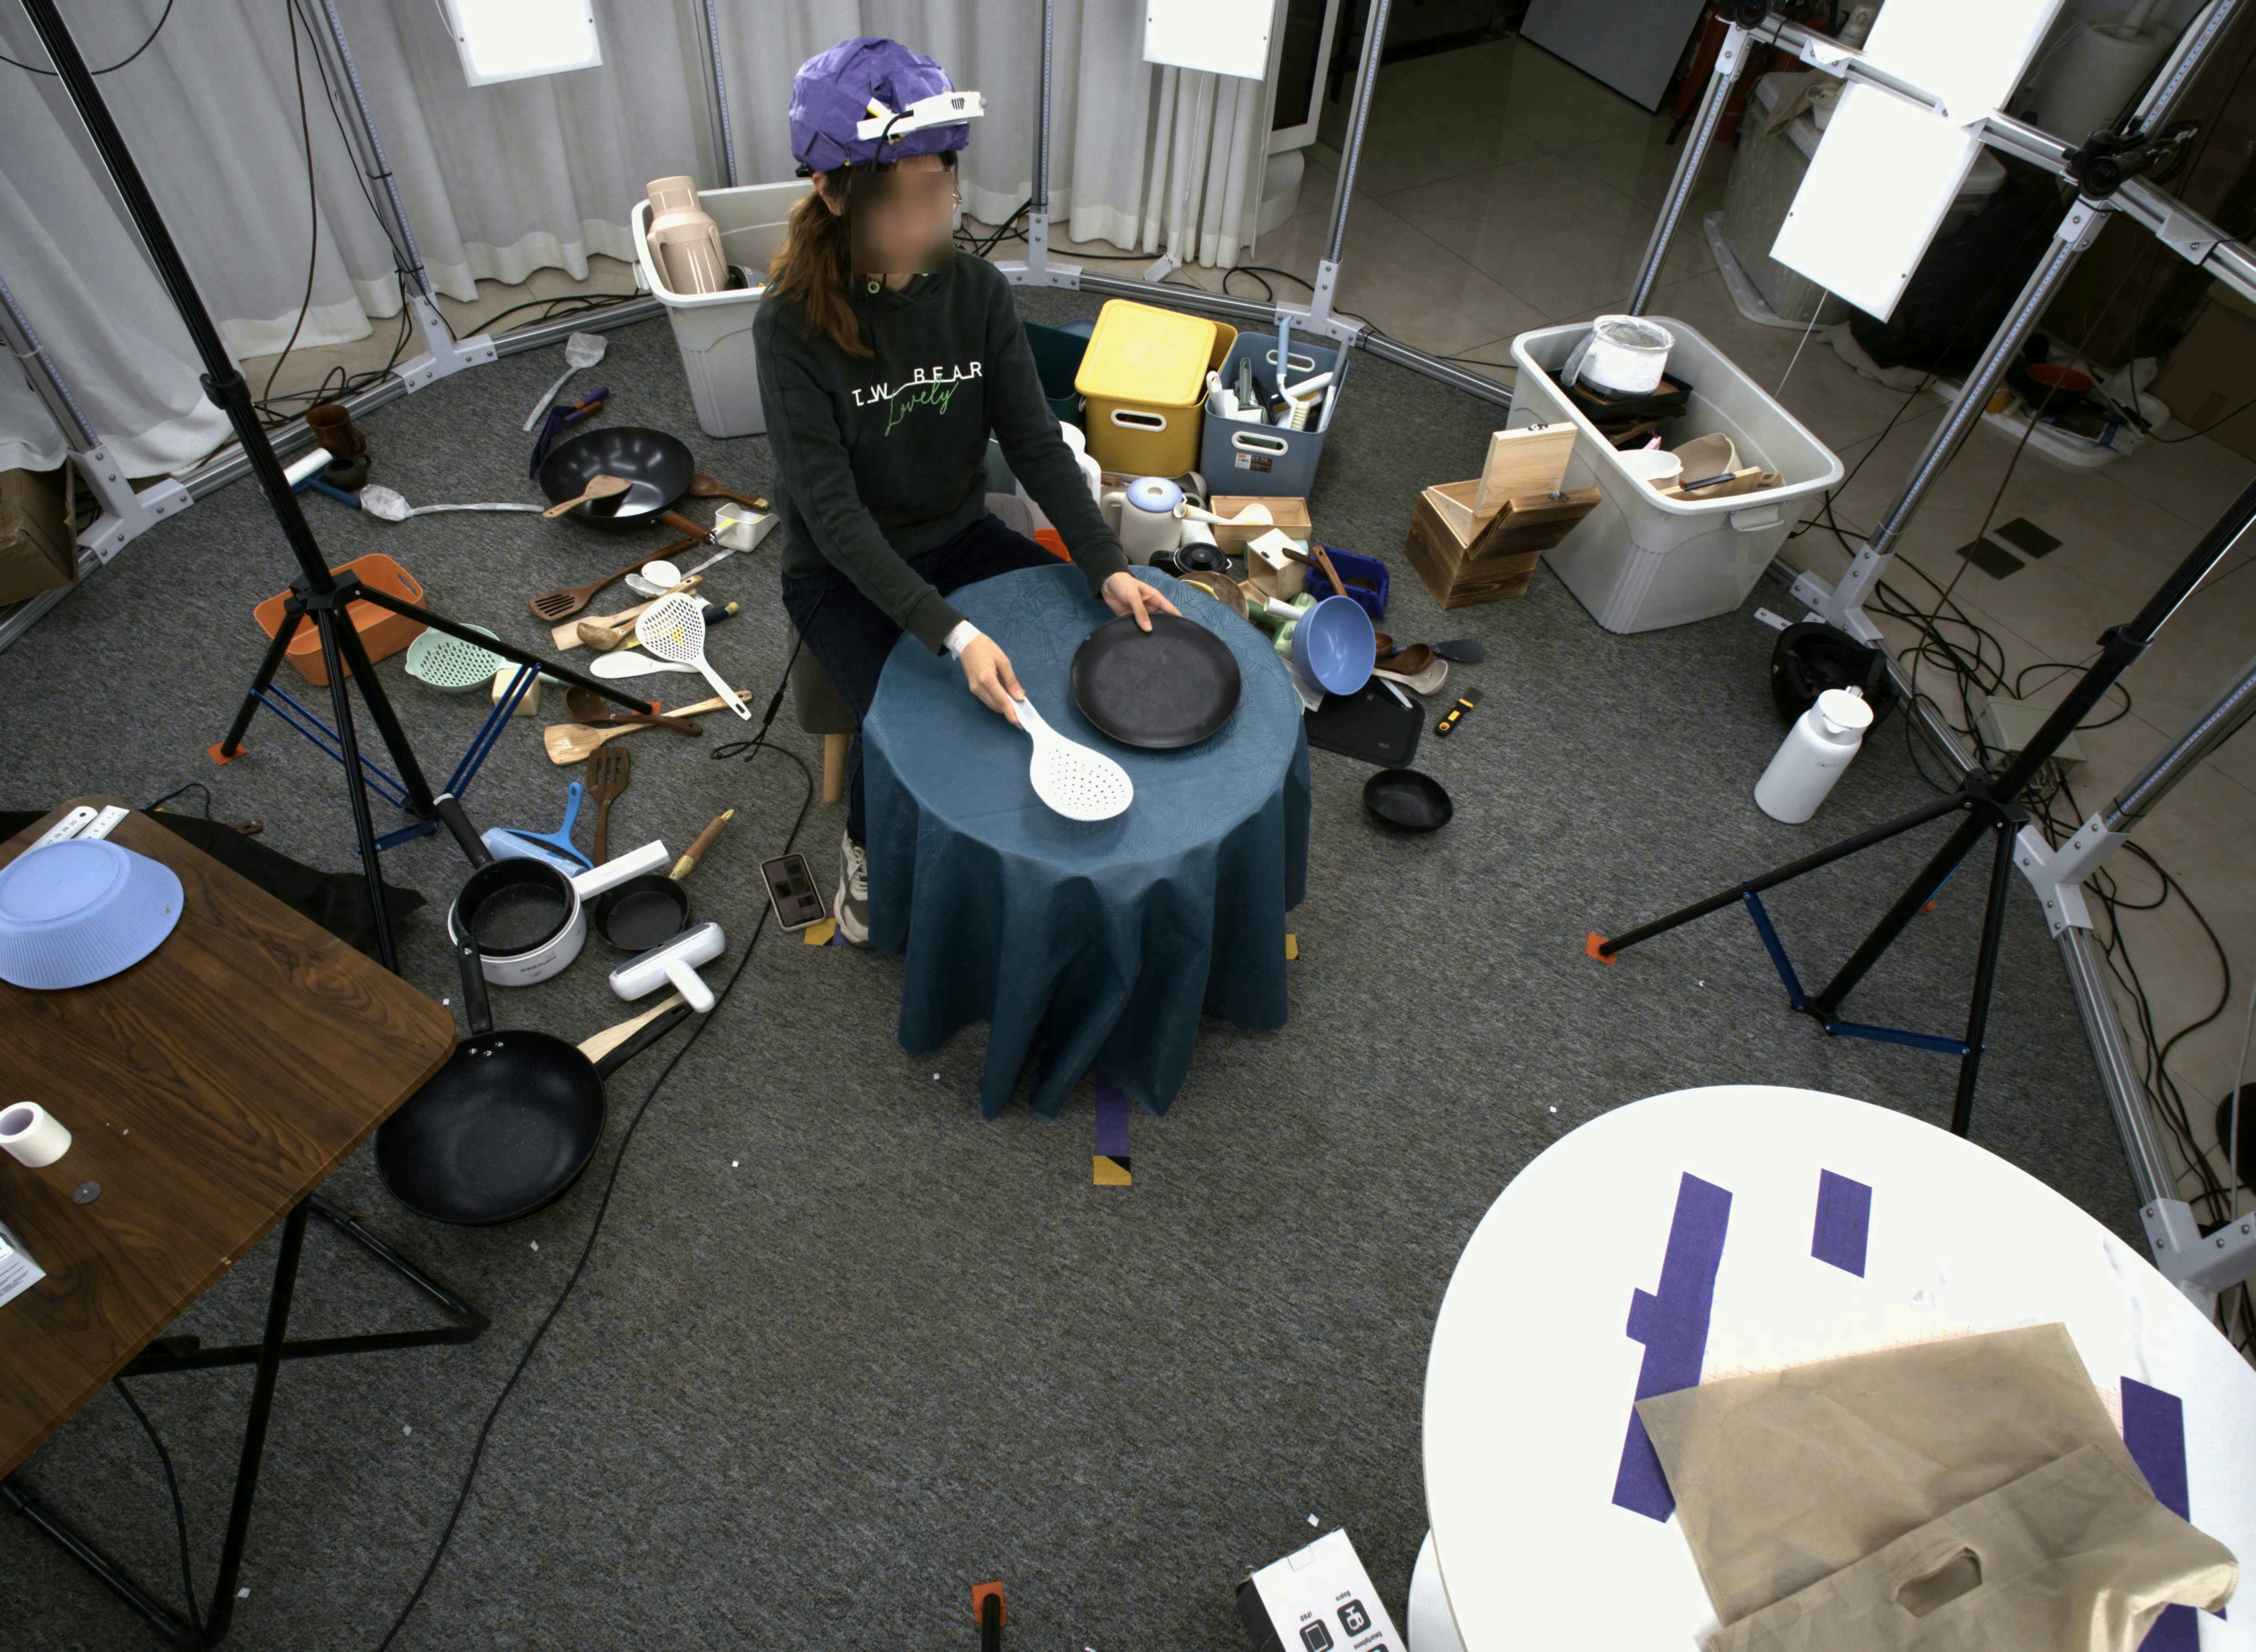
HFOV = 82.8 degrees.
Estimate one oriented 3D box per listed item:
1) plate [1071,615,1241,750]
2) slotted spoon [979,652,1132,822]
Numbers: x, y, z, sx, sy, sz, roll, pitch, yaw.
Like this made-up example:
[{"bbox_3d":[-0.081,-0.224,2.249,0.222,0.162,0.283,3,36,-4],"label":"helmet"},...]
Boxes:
[{"bbox_3d":[0.040,-0.204,1.835,0.244,0.023,0.250,2,56,-3],"label":"plate"},{"bbox_3d":[-0.117,-0.125,1.741,0.136,0.045,0.357,-13,54,-31],"label":"slotted spoon"}]
